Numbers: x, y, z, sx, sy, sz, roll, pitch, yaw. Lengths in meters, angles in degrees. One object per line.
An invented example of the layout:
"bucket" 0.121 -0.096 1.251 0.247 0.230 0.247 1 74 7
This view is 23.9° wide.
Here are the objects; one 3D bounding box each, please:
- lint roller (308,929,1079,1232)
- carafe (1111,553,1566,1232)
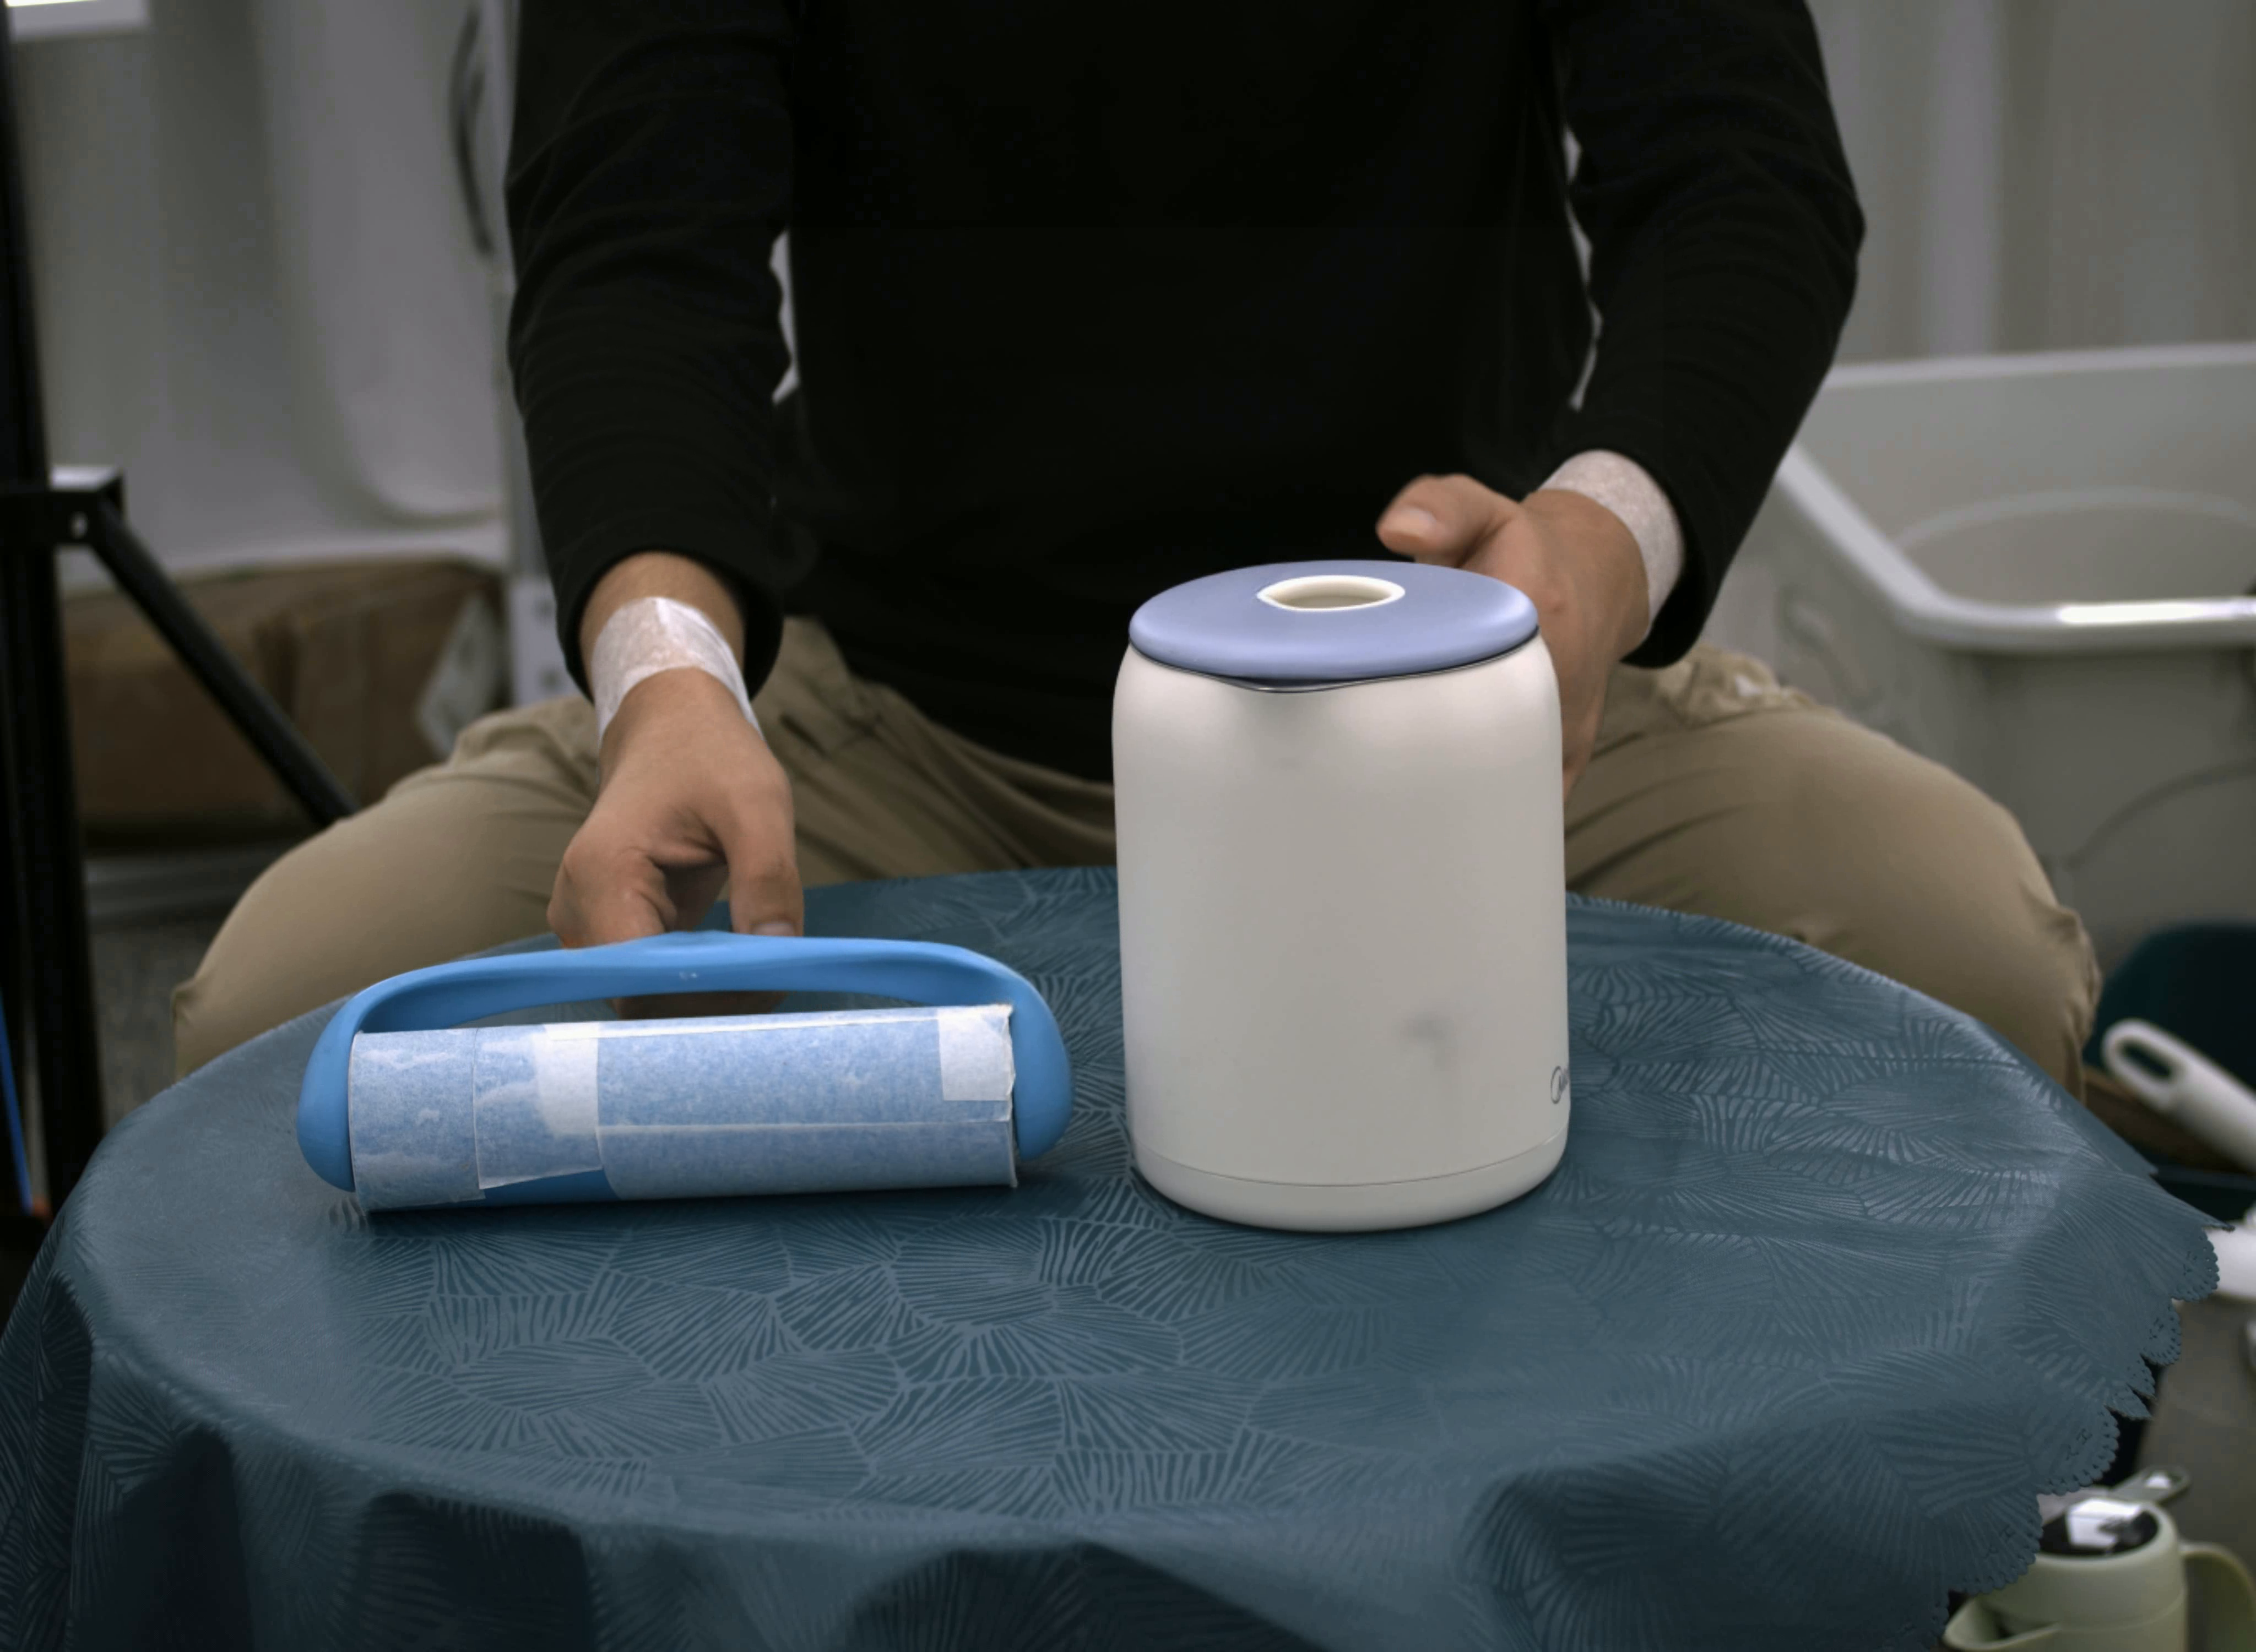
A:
"lint roller" -0.132 0.063 1.626 0.228 0.068 0.181 -6 22 0
"carafe" 0.067 0.012 1.570 0.133 0.182 0.189 2 14 14
